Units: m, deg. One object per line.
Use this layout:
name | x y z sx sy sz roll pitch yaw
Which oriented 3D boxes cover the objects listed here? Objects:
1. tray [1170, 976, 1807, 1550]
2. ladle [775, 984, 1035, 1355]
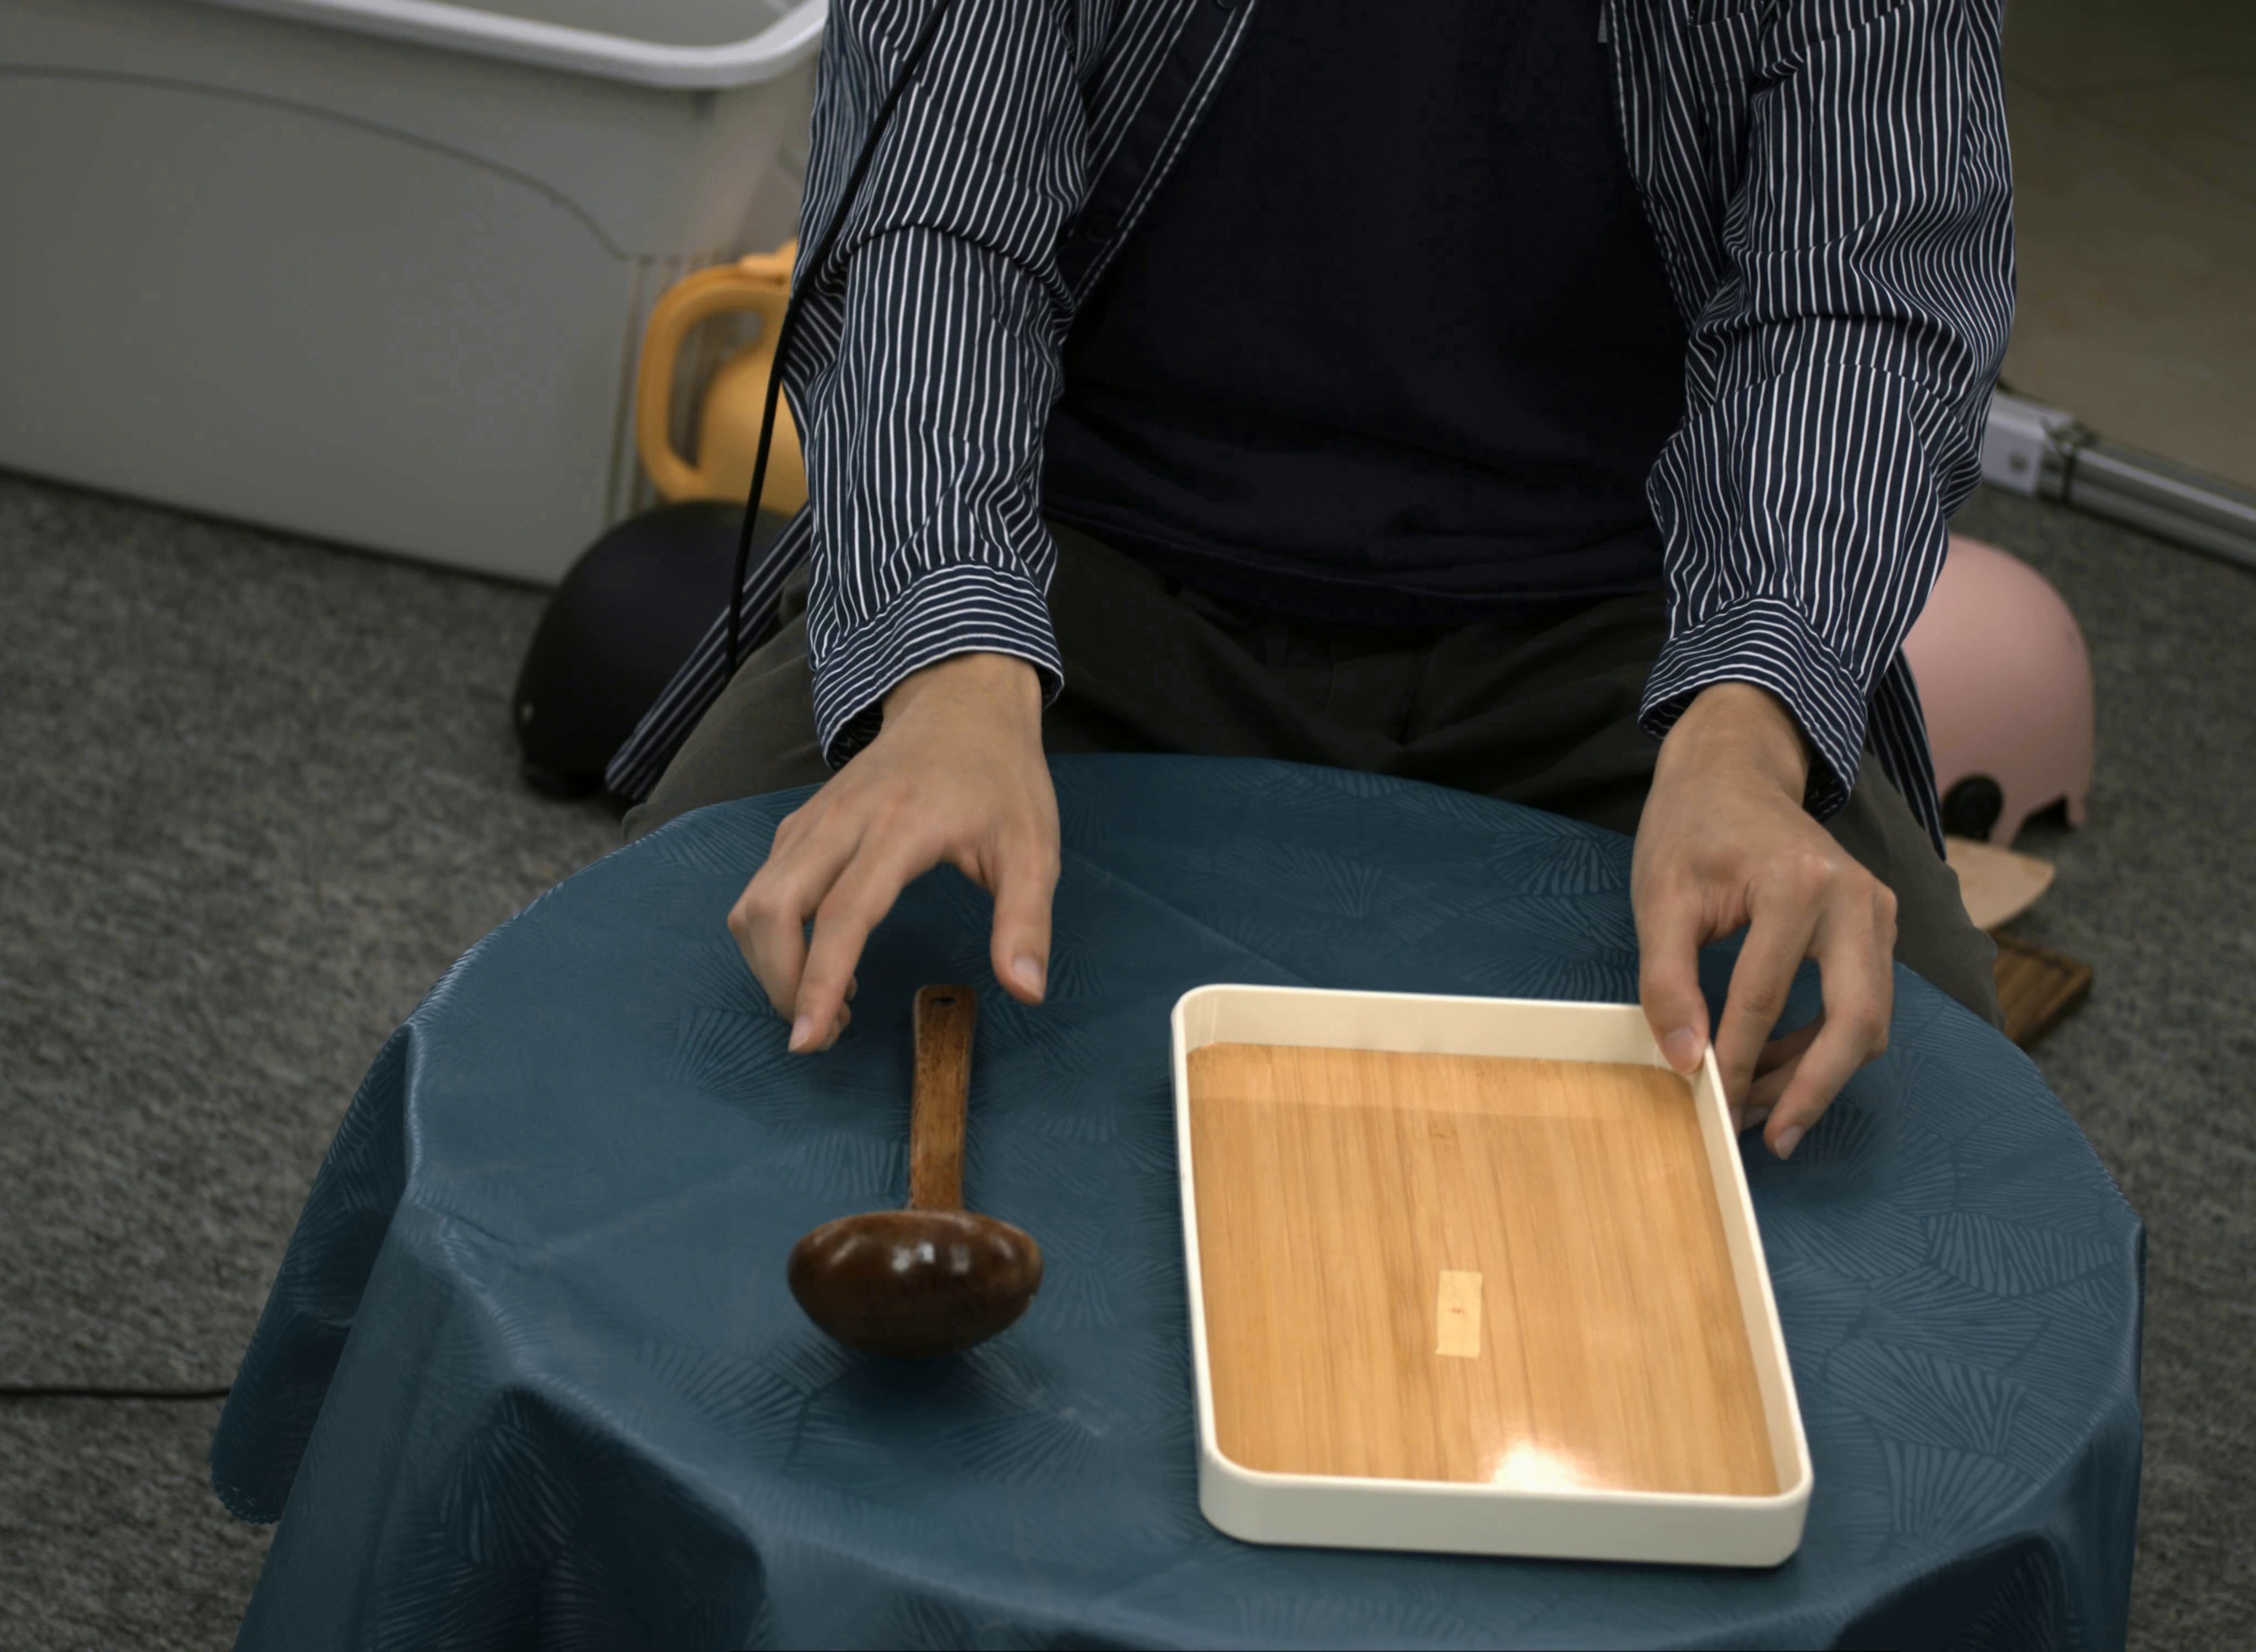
tray | 0.112 0.138 1.756 0.191 0.027 0.302 3 28 -2
ladle | -0.066 0.093 1.760 0.082 0.076 0.275 3 27 1
